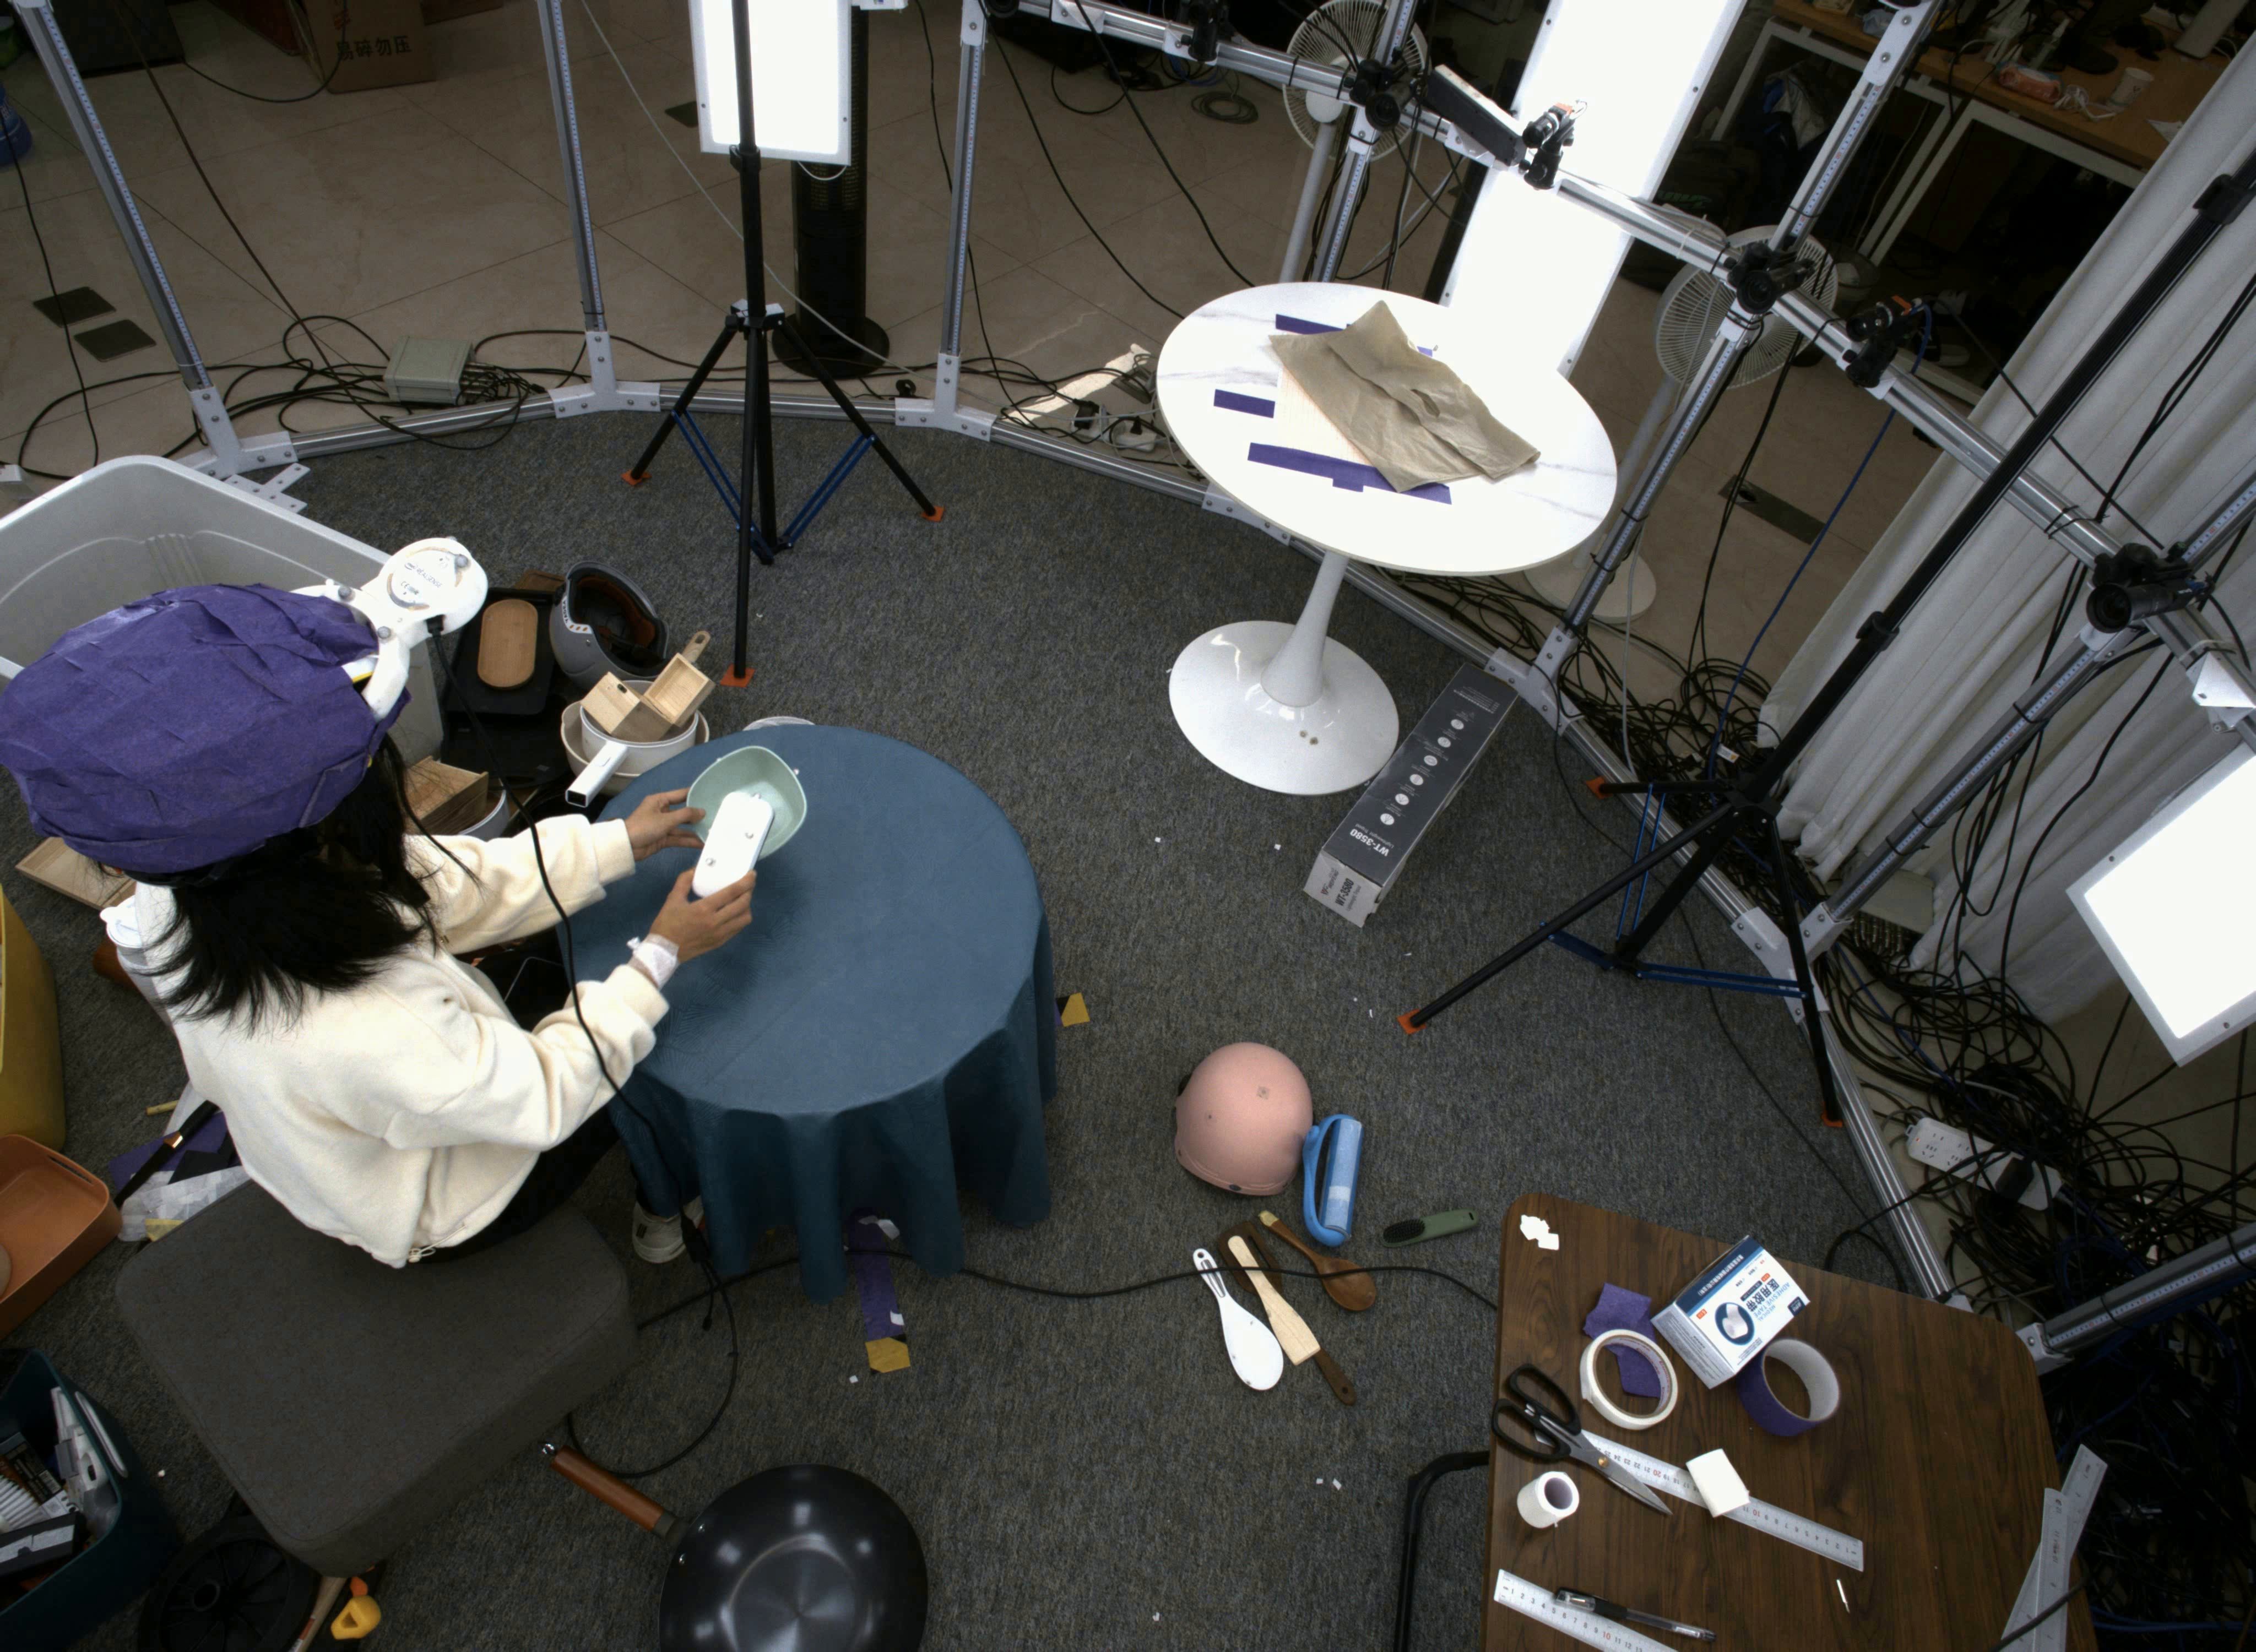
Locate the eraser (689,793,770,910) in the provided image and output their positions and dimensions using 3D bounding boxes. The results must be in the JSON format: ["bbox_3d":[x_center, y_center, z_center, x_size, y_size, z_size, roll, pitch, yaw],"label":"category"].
[{"bbox_3d":[-0.471,0.028,1.521,0.062,0.035,0.132,20,86,4],"label":"eraser"}]

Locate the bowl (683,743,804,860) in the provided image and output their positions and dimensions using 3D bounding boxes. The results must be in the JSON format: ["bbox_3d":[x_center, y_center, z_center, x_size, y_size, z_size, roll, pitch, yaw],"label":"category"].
[{"bbox_3d":[-0.468,-0.022,1.601,0.150,0.059,0.151,1,75,-1],"label":"bowl"}]
